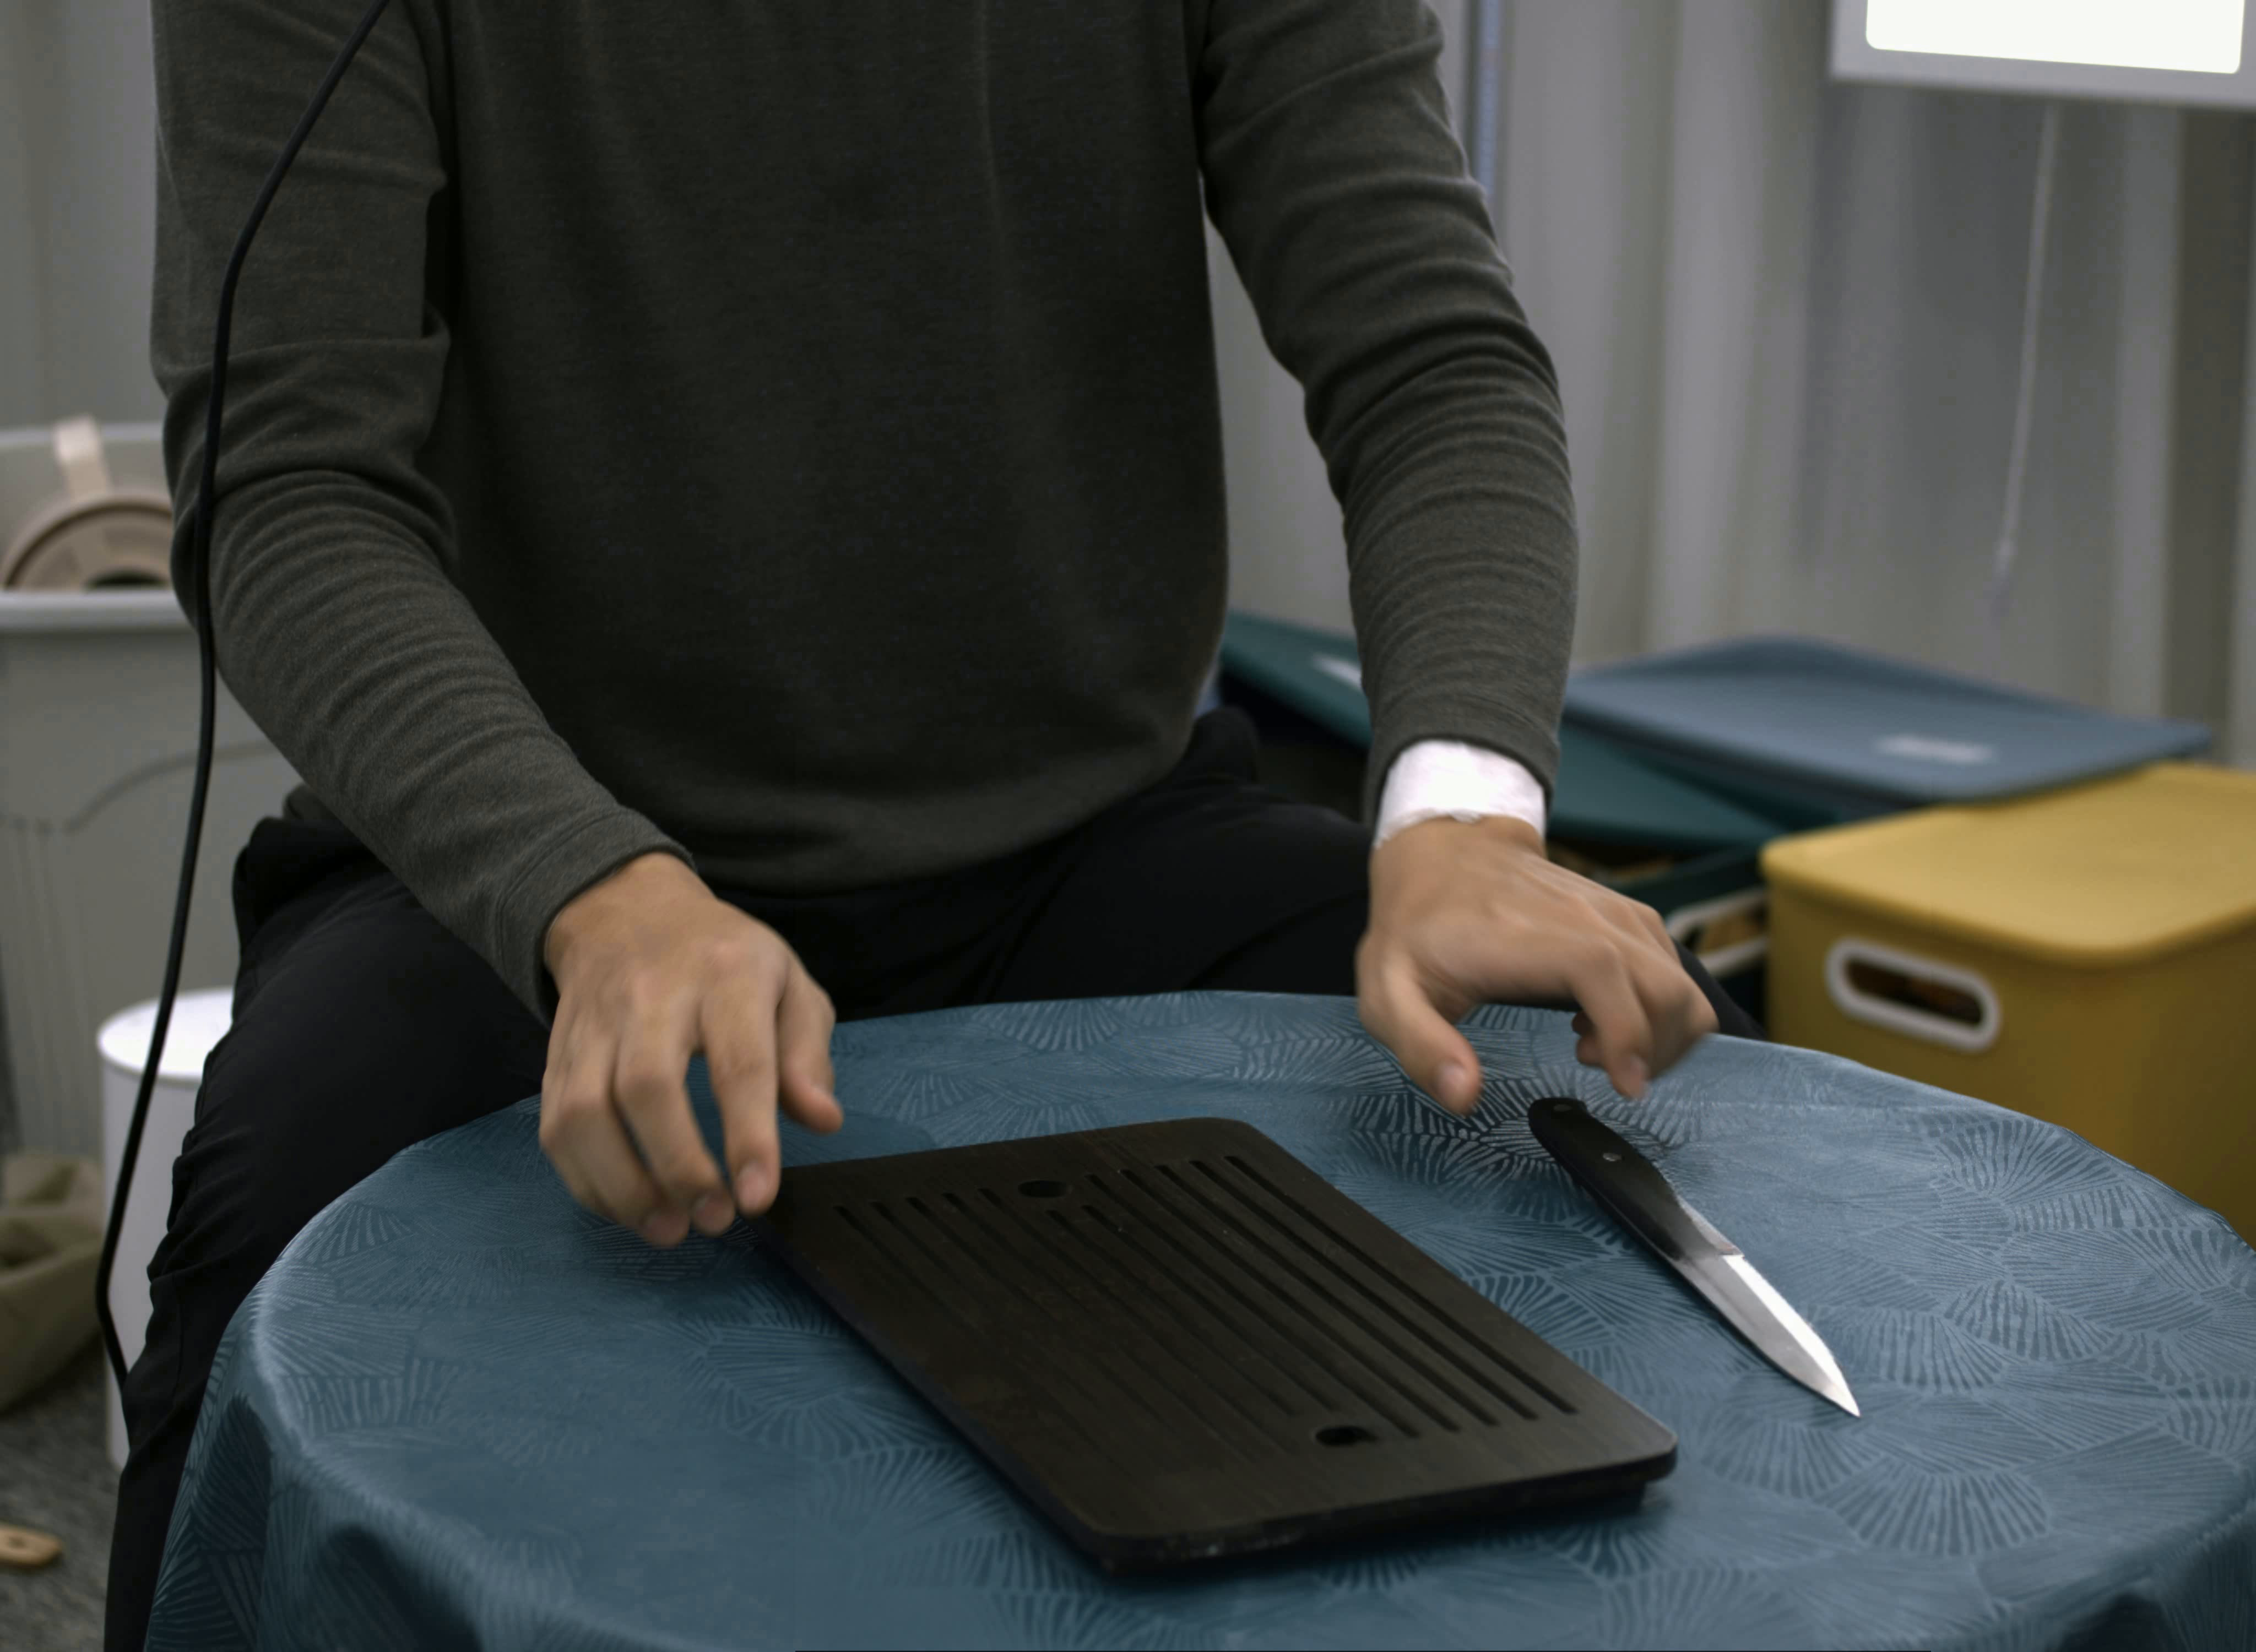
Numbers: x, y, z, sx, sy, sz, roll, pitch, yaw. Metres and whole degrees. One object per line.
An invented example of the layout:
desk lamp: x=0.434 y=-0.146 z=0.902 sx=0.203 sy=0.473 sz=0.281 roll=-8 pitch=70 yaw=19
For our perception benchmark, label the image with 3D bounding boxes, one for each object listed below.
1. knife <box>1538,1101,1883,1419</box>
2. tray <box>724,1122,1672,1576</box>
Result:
knife: x=0.169 y=0.128 z=1.556 sx=0.024 sy=0.016 sz=0.235 roll=-6 pitch=19 yaw=-17
tray: x=0.011 y=0.142 z=1.482 sx=0.170 sy=0.019 sz=0.302 roll=-6 pitch=16 yaw=-22
